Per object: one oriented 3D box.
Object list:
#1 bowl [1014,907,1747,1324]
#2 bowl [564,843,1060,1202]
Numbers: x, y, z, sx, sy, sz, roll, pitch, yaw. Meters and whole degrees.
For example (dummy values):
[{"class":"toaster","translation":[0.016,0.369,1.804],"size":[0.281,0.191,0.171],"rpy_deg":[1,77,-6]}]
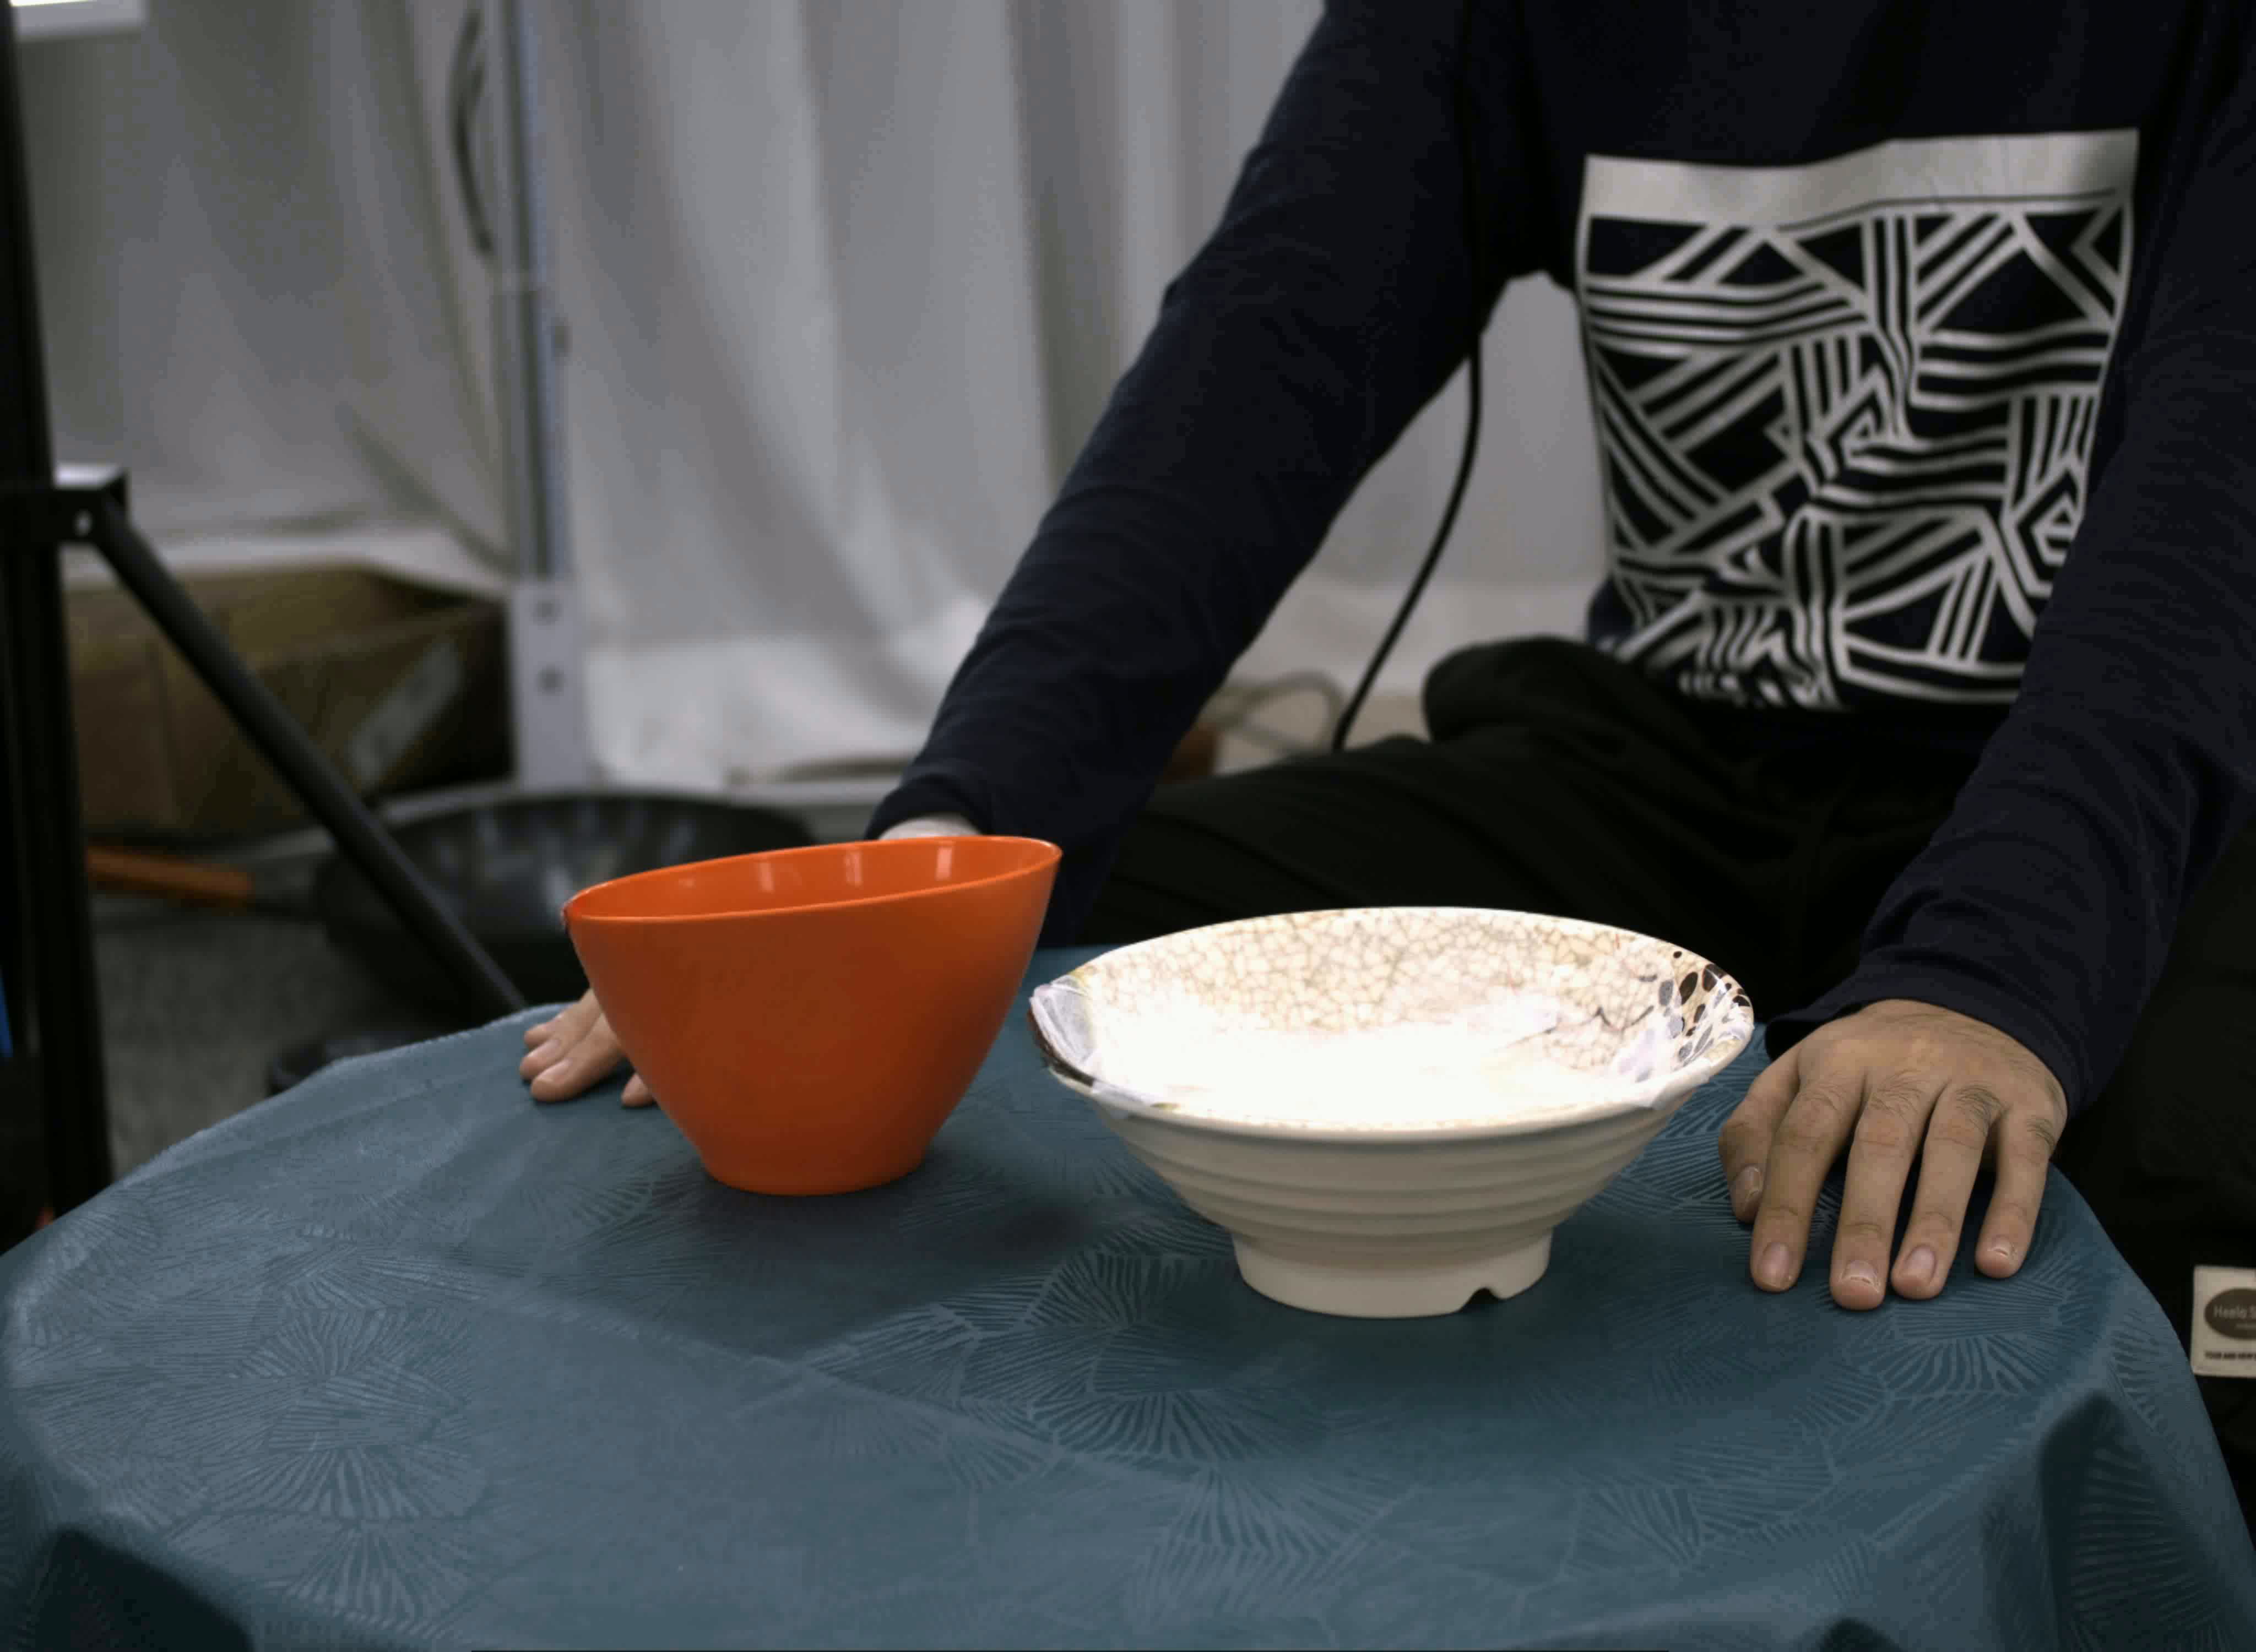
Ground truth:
[{"class":"bowl","translation":[0.070,0.088,1.482],"size":[0.203,0.078,0.205],"rpy_deg":[-1,15,-1]},{"class":"bowl","translation":[-0.092,0.056,1.580],"size":[0.147,0.105,0.149],"rpy_deg":[-2,14,-1]}]
